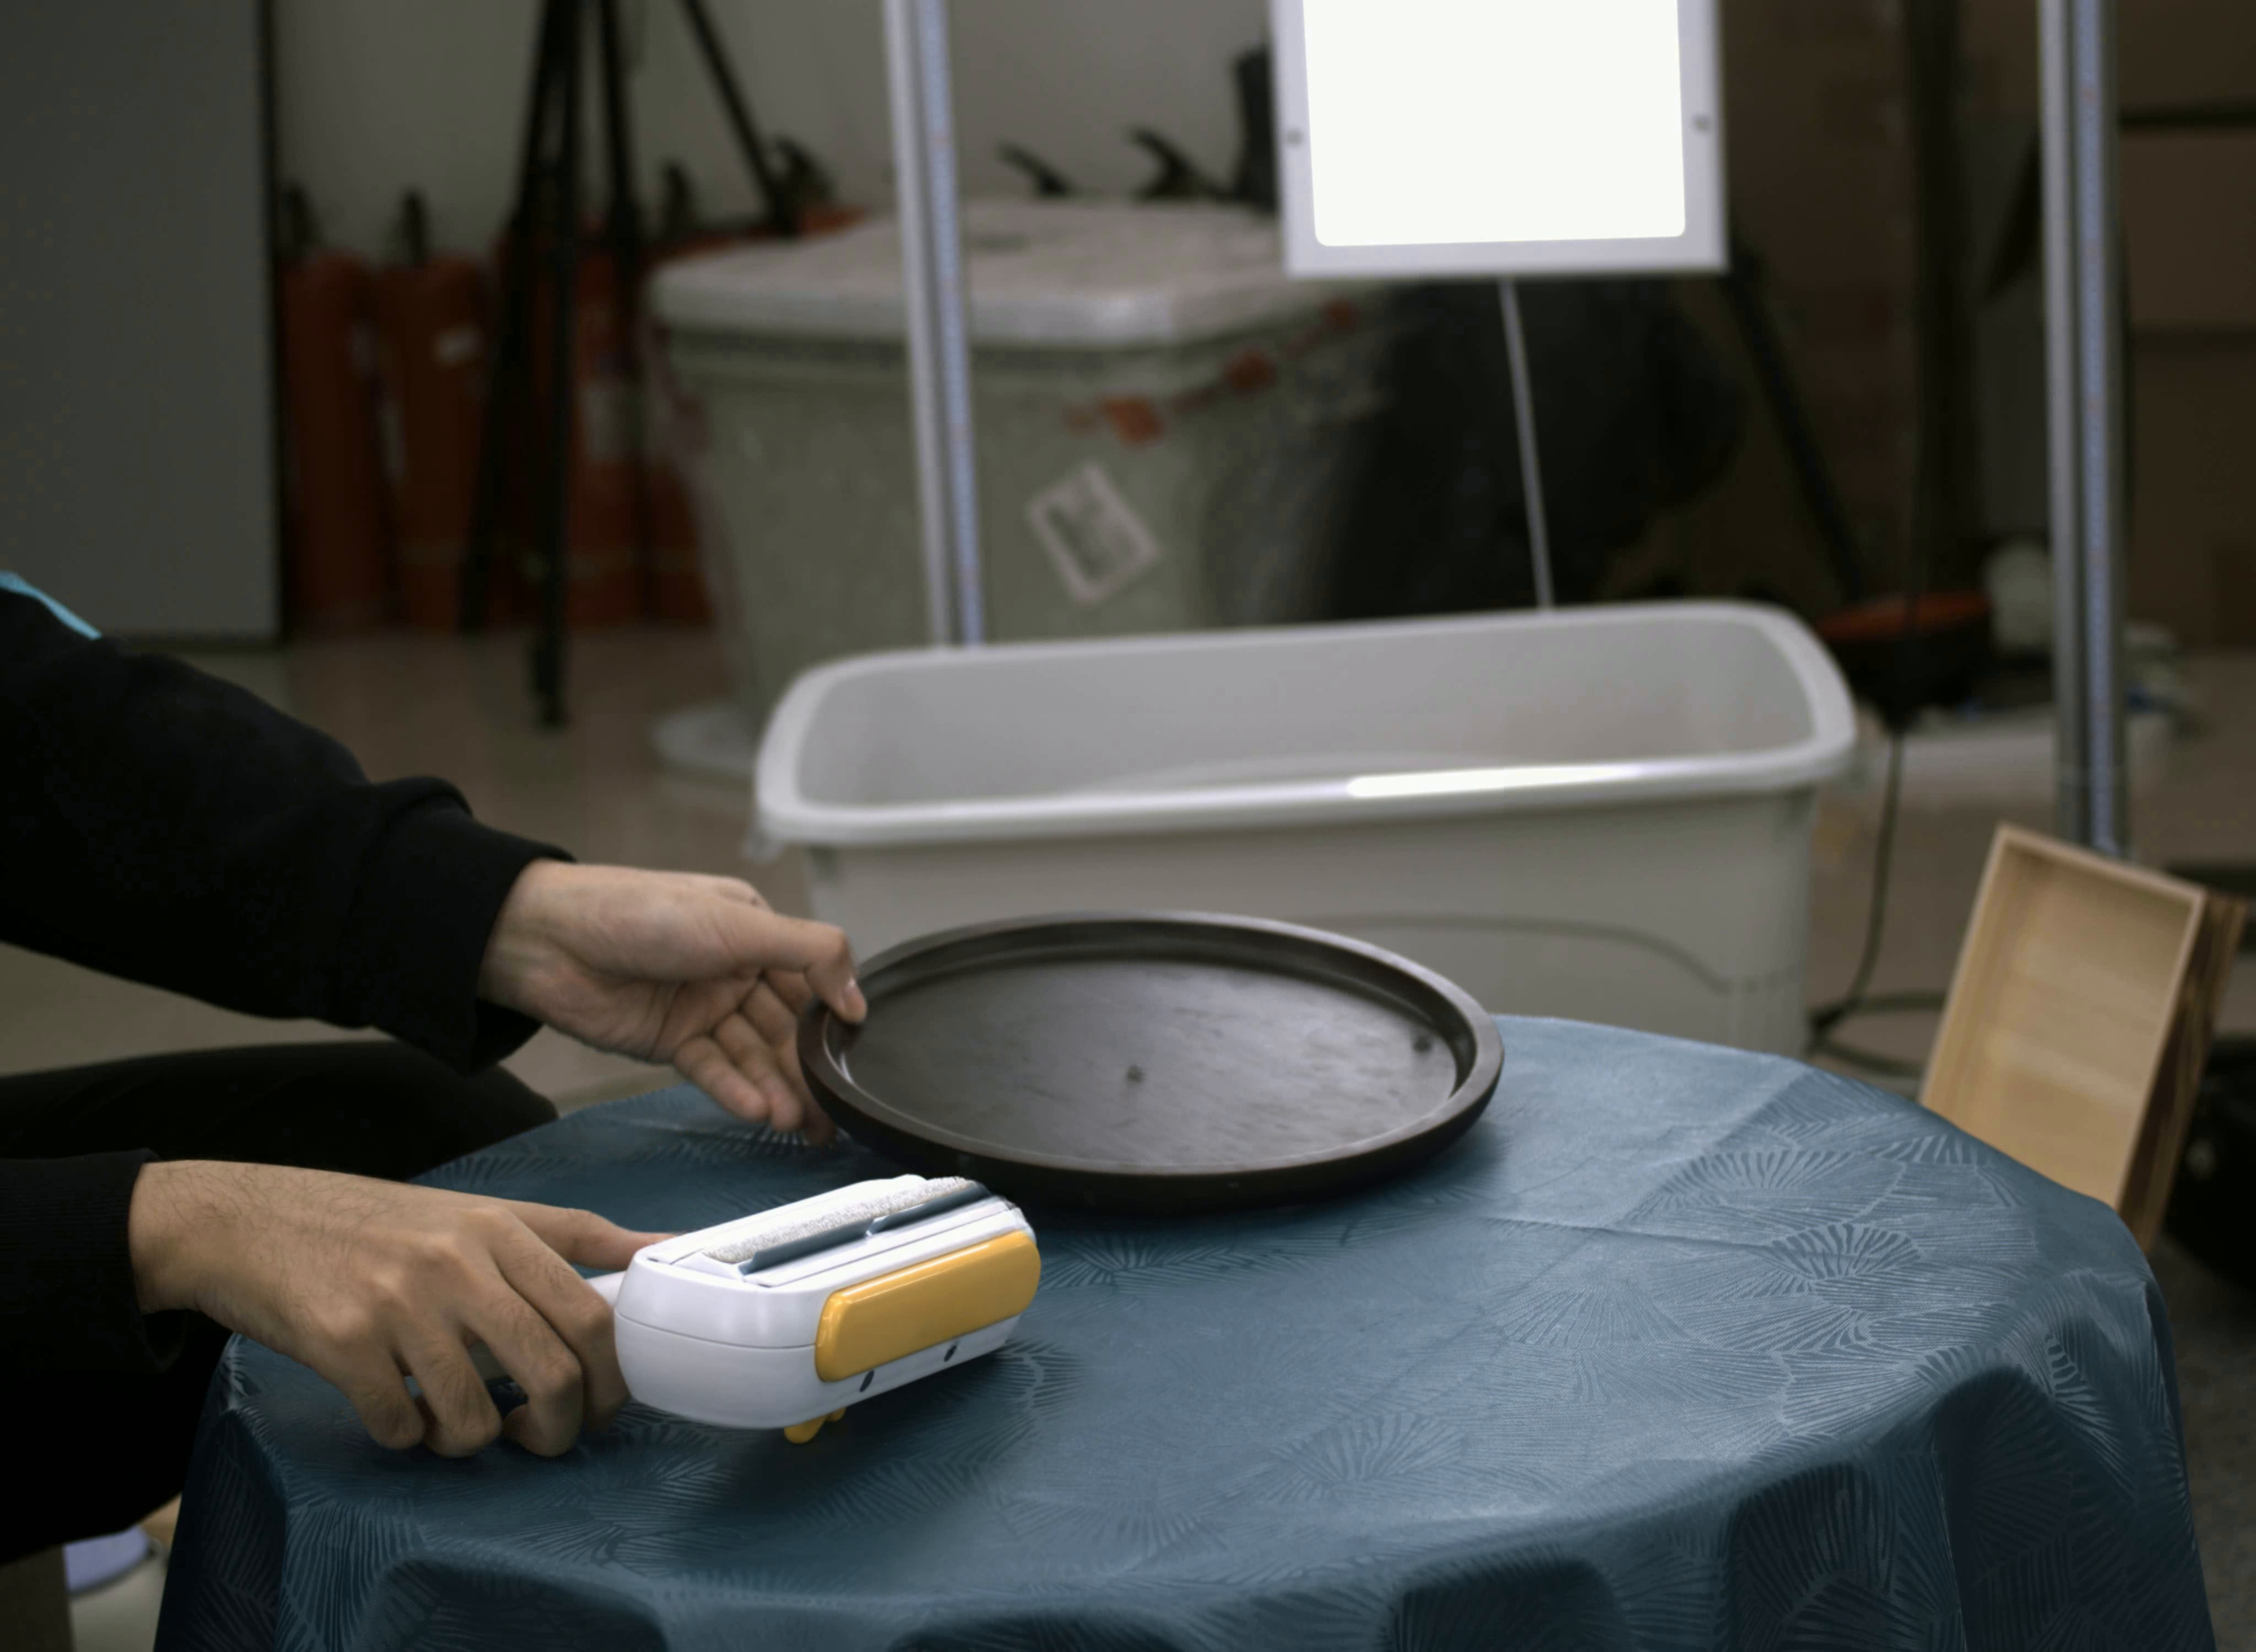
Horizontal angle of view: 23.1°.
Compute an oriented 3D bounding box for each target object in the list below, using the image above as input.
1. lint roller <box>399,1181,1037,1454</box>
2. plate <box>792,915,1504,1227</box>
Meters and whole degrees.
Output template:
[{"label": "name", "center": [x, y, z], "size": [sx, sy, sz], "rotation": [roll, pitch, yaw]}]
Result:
[{"label": "lint roller", "center": [-0.144, 0.151, 1.708], "size": [0.196, 0.074, 0.188], "rotation": [1, 10, 30]}, {"label": "plate", "center": [0.007, 0.085, 1.955], "size": [0.254, 0.029, 0.254], "rotation": [-2, 19, -1]}]
